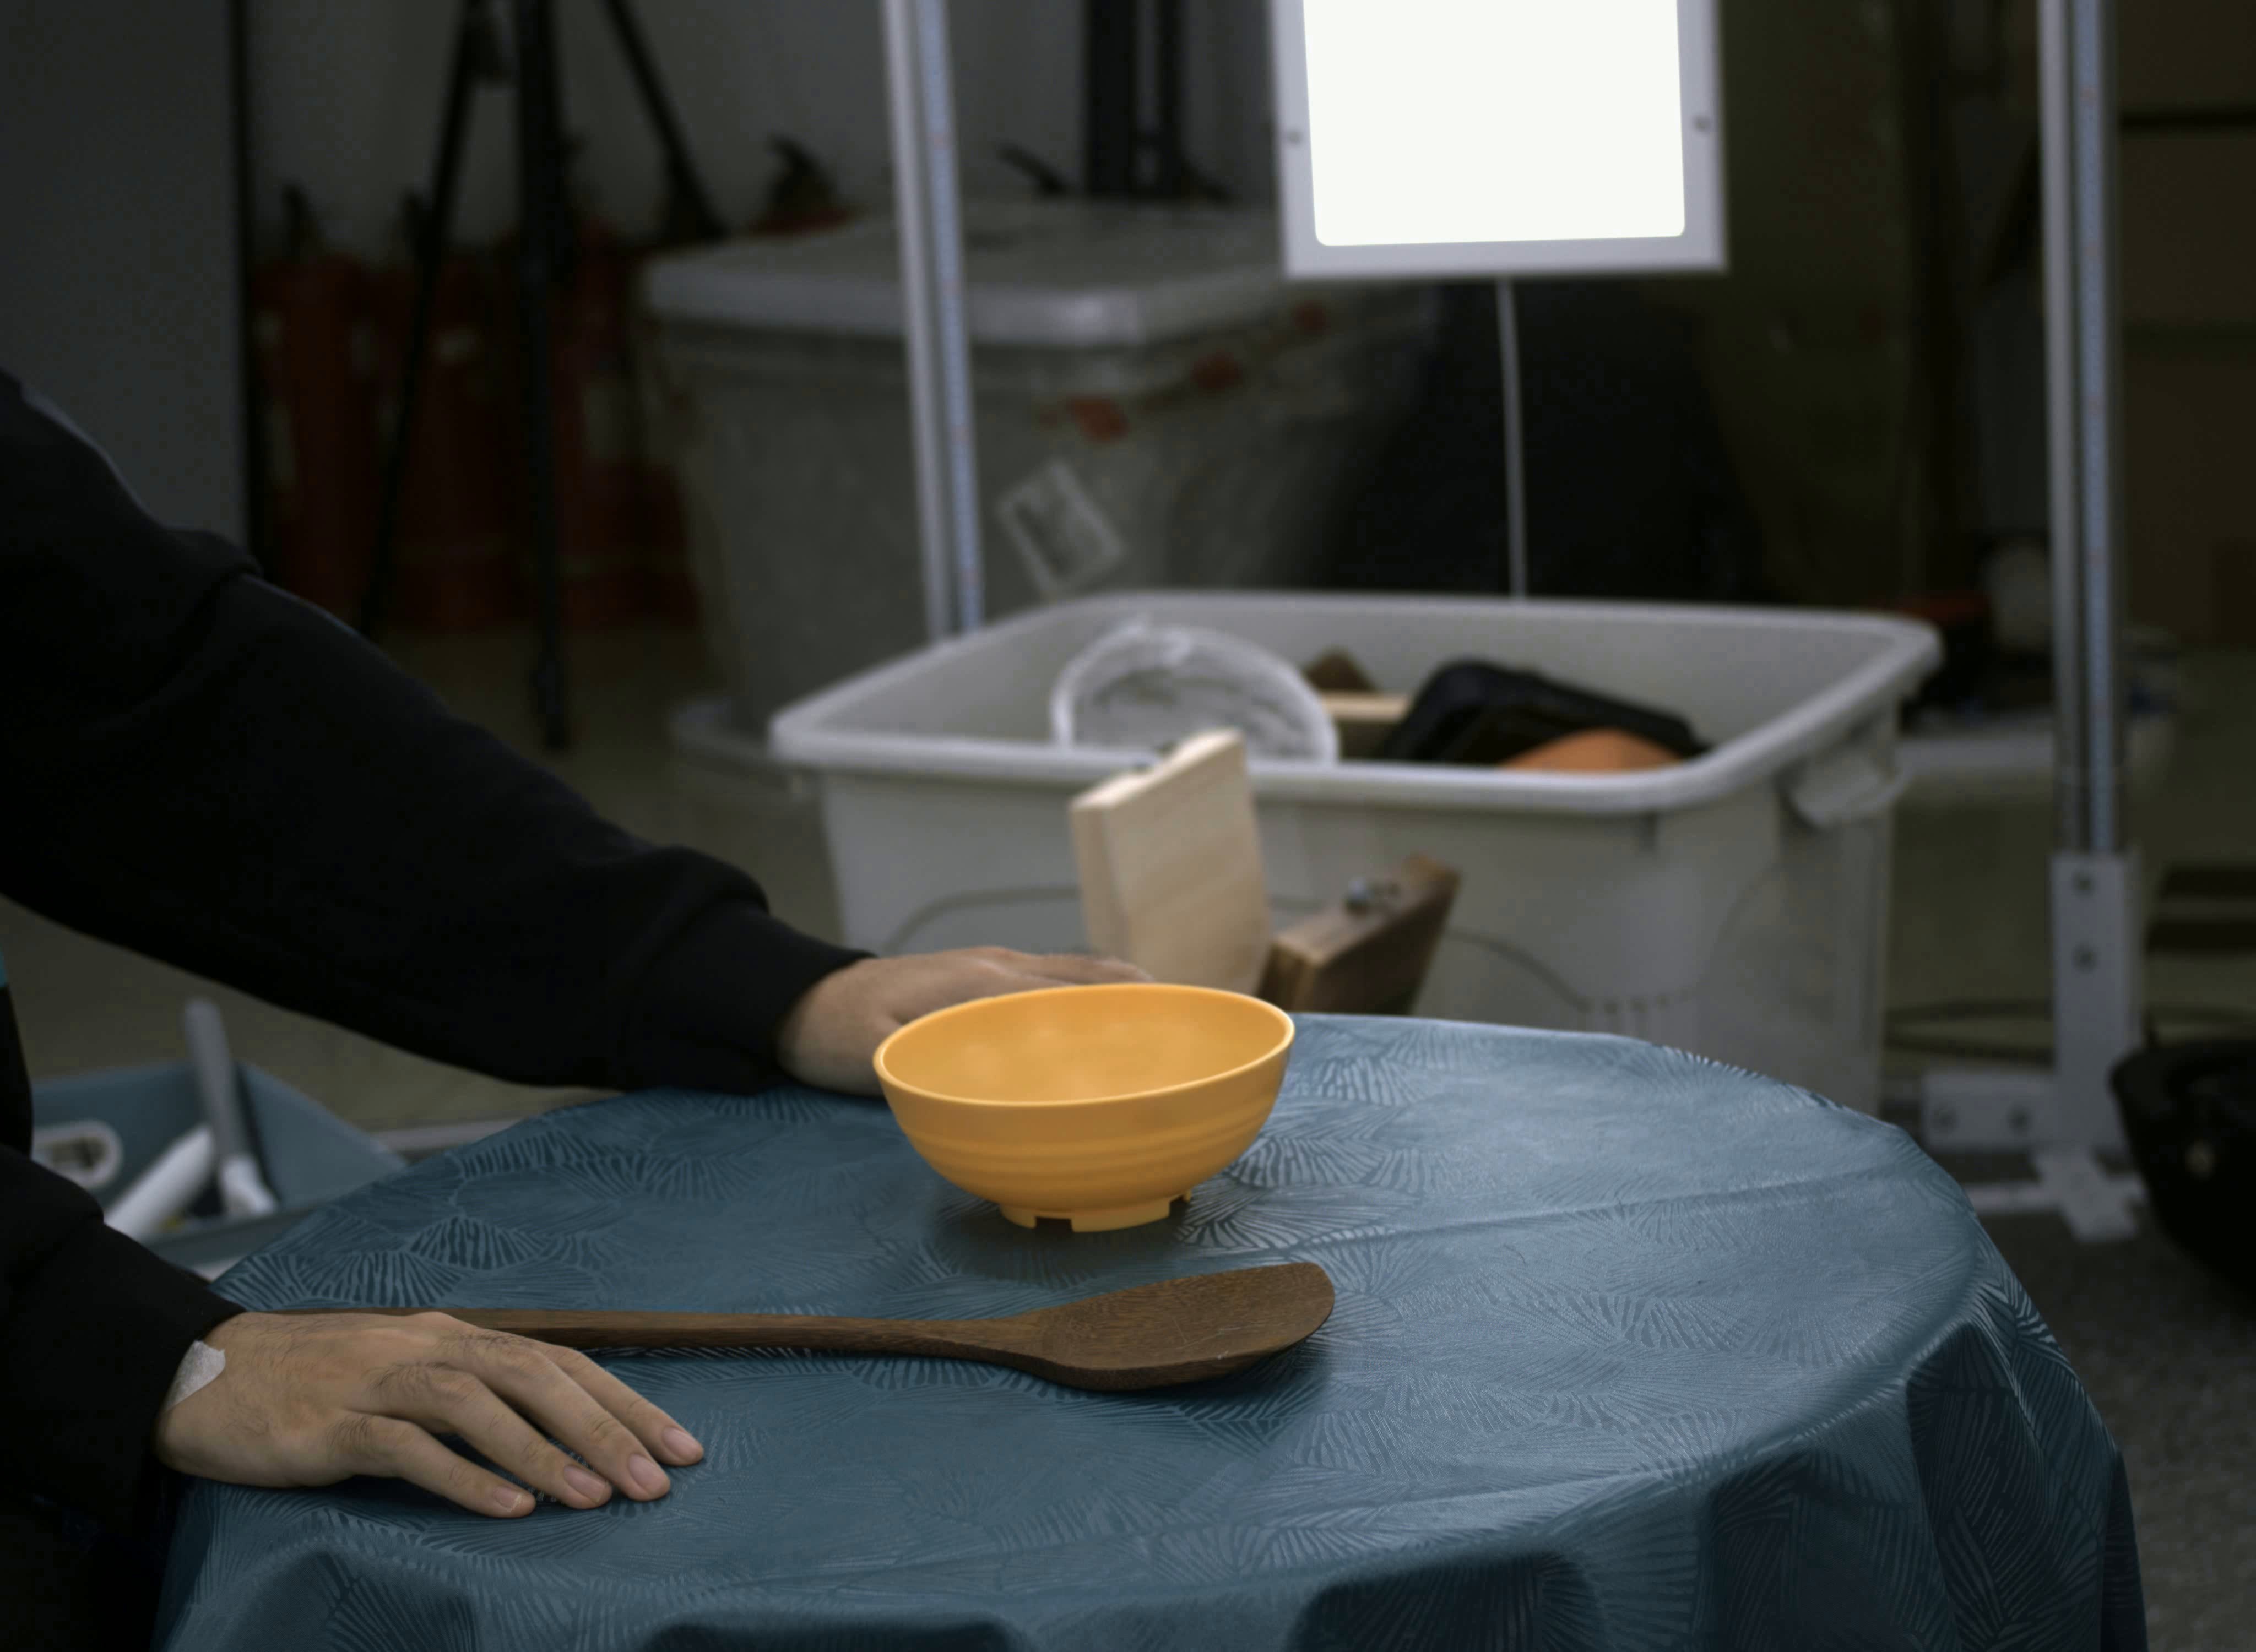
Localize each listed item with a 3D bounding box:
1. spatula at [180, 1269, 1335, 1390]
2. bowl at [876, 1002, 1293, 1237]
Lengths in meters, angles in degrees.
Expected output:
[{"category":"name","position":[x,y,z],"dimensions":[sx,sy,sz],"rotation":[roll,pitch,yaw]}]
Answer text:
[{"category":"spatula","position":[-0.124,0.162,1.769],"dimensions":[0.389,0.016,0.095],"rotation":[-1,14,15]},{"category":"bowl","position":[-0.013,0.104,1.881],"dimensions":[0.145,0.060,0.145],"rotation":[-5,11,0]}]
